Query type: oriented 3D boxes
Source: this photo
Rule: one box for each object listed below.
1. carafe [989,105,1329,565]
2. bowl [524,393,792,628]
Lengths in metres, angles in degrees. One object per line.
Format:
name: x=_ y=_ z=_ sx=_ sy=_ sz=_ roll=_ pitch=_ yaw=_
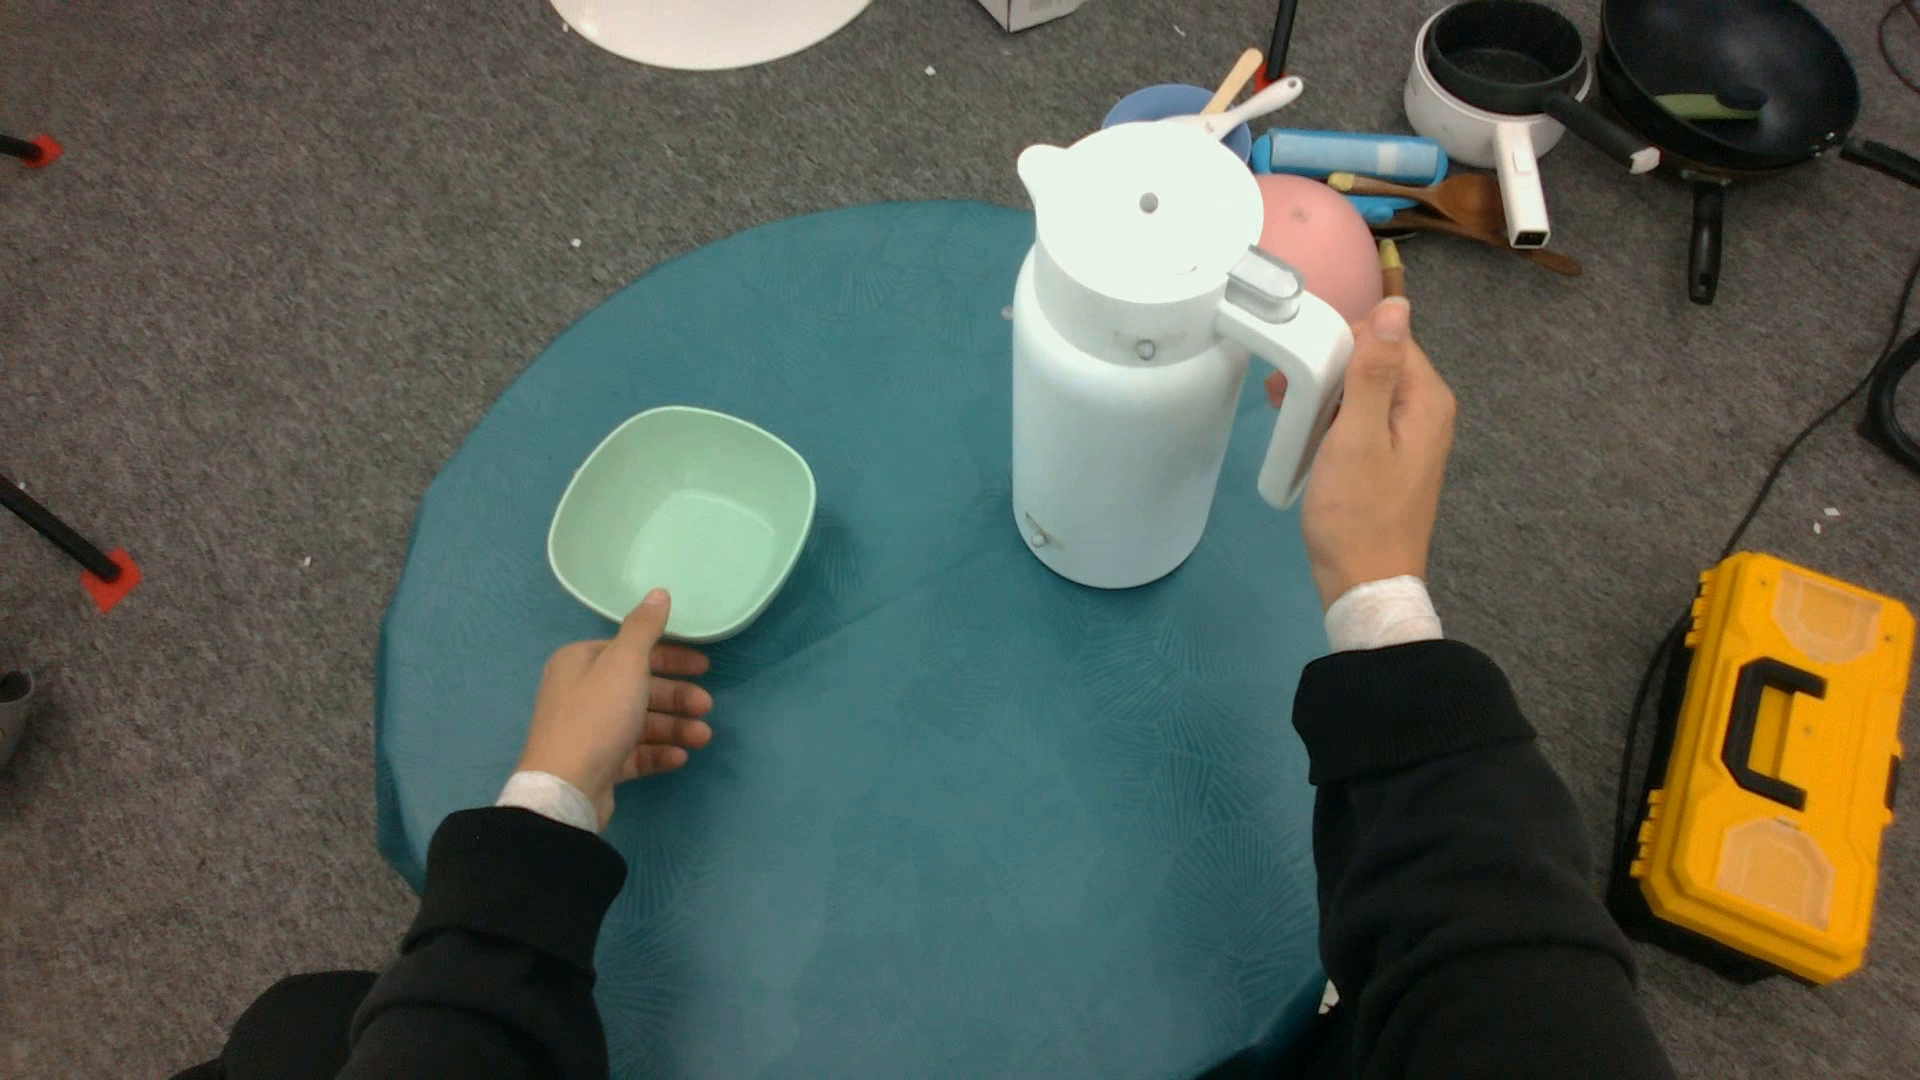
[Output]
carafe: x=0.089 y=-0.085 z=0.708 sx=0.173 sy=0.268 sz=0.124 roll=32 pitch=66 yaw=16
bowl: x=-0.167 y=-0.008 z=0.789 sx=0.151 sy=0.058 sz=0.152 roll=0 pitch=62 yaw=1
